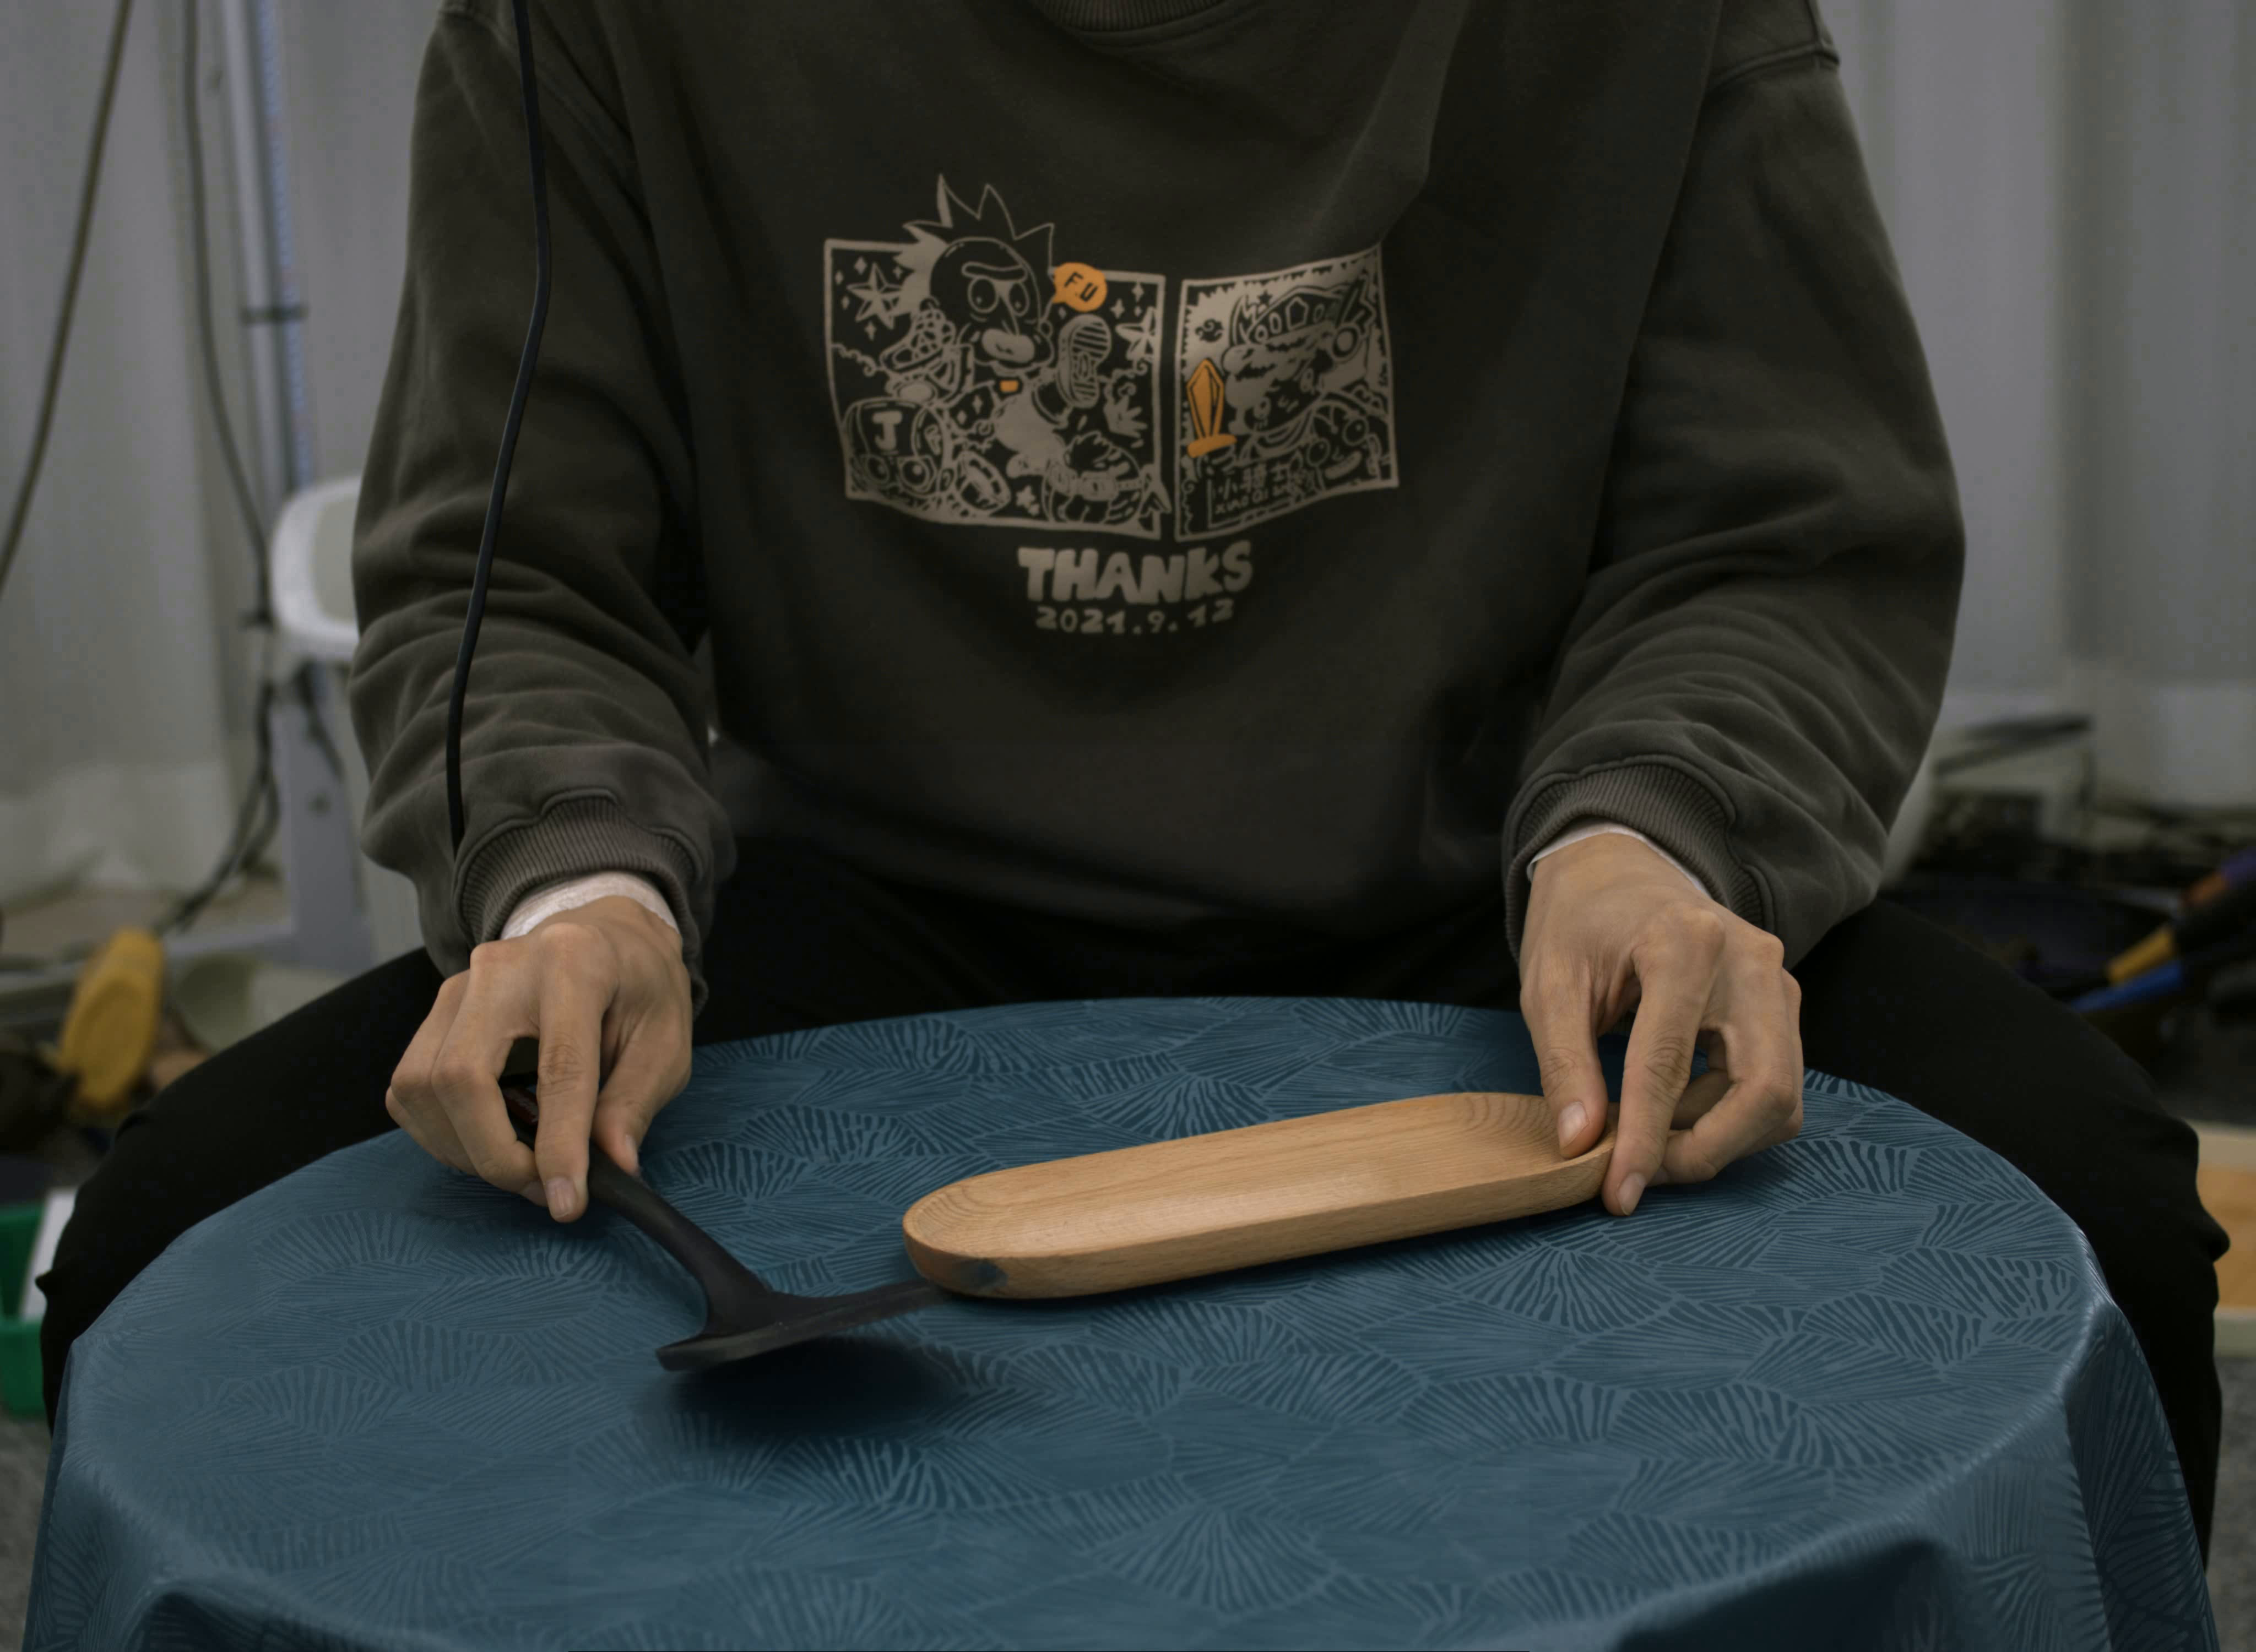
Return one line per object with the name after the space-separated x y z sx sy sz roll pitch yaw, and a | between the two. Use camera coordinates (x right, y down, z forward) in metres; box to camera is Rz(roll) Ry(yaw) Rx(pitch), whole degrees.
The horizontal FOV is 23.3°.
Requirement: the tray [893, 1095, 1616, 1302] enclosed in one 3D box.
0.040 0.114 1.680 0.230 0.020 0.102 -10 13 -18 | tray

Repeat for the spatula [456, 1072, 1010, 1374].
-0.144 0.114 1.665 0.099 0.040 0.329 -12 21 -25 | spatula
